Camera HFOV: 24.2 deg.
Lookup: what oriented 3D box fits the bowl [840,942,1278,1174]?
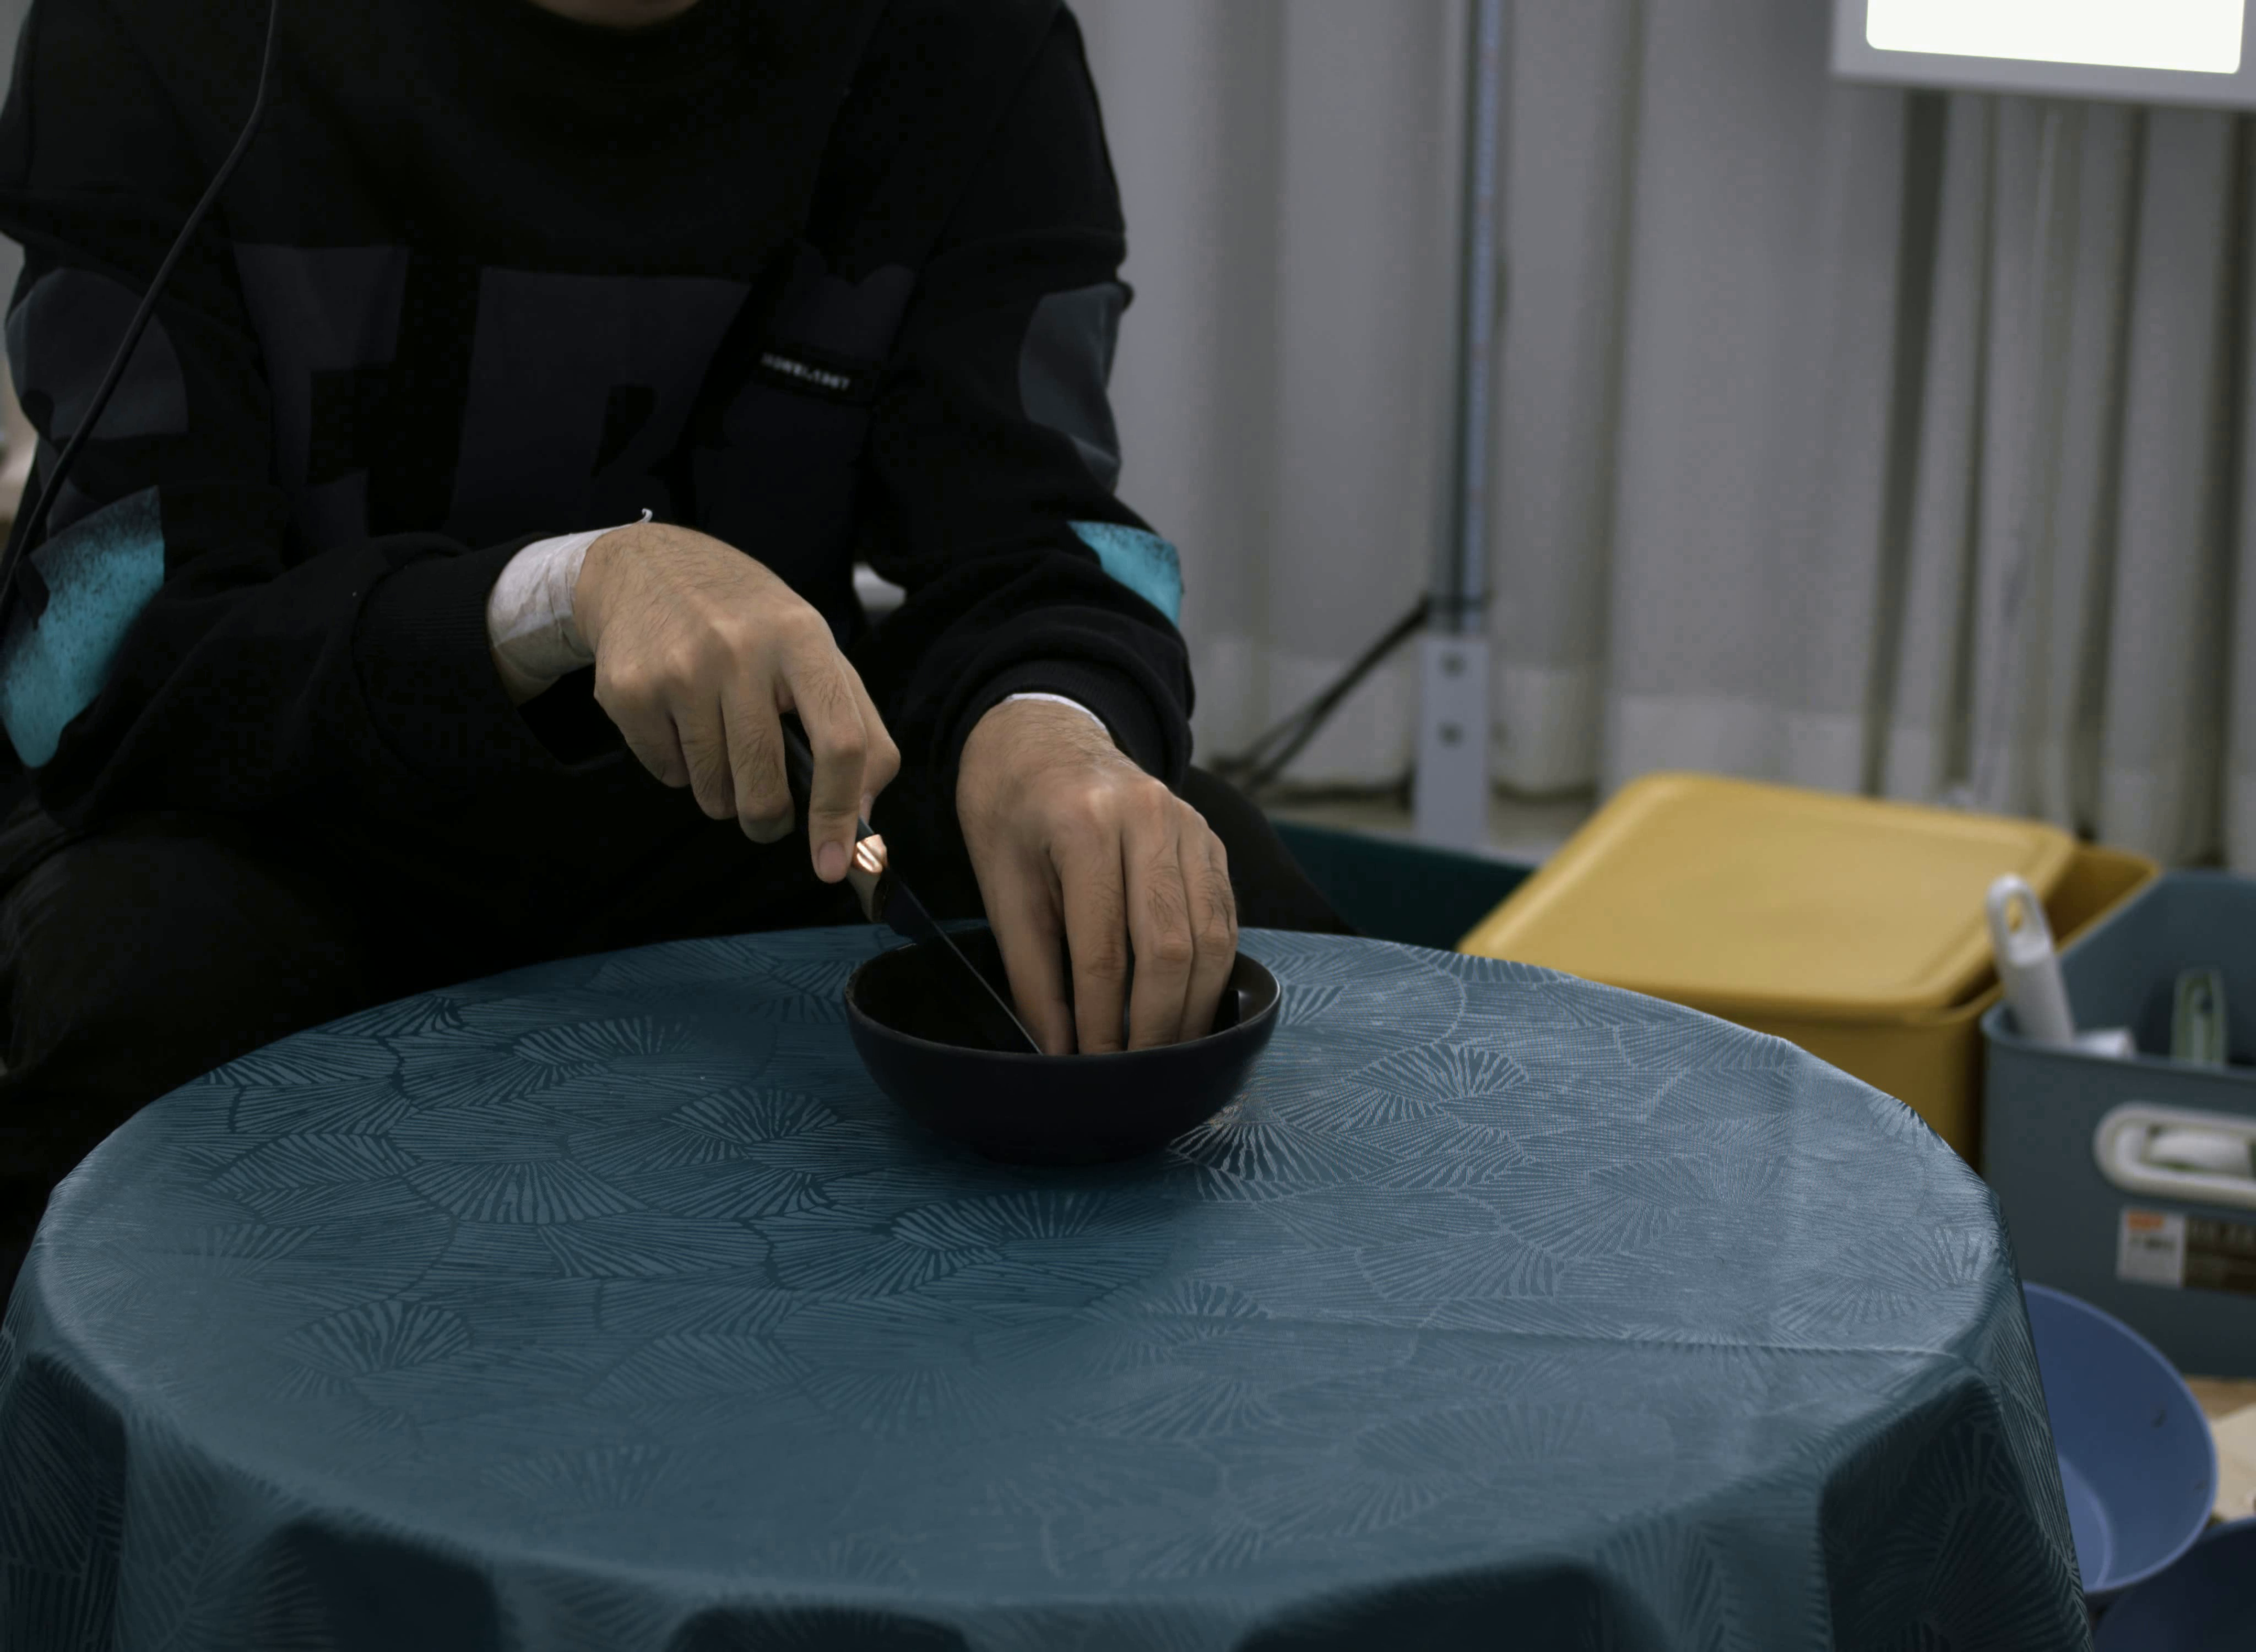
[{"bbox_3d":[-0.021,0.077,1.668,0.139,0.050,0.139,-3,13,1],"label":"bowl"}]

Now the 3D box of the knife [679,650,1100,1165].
[{"bbox_3d":[-0.076,0.025,1.694,0.017,0.026,0.223,-24,63,-36],"label":"knife"}]
